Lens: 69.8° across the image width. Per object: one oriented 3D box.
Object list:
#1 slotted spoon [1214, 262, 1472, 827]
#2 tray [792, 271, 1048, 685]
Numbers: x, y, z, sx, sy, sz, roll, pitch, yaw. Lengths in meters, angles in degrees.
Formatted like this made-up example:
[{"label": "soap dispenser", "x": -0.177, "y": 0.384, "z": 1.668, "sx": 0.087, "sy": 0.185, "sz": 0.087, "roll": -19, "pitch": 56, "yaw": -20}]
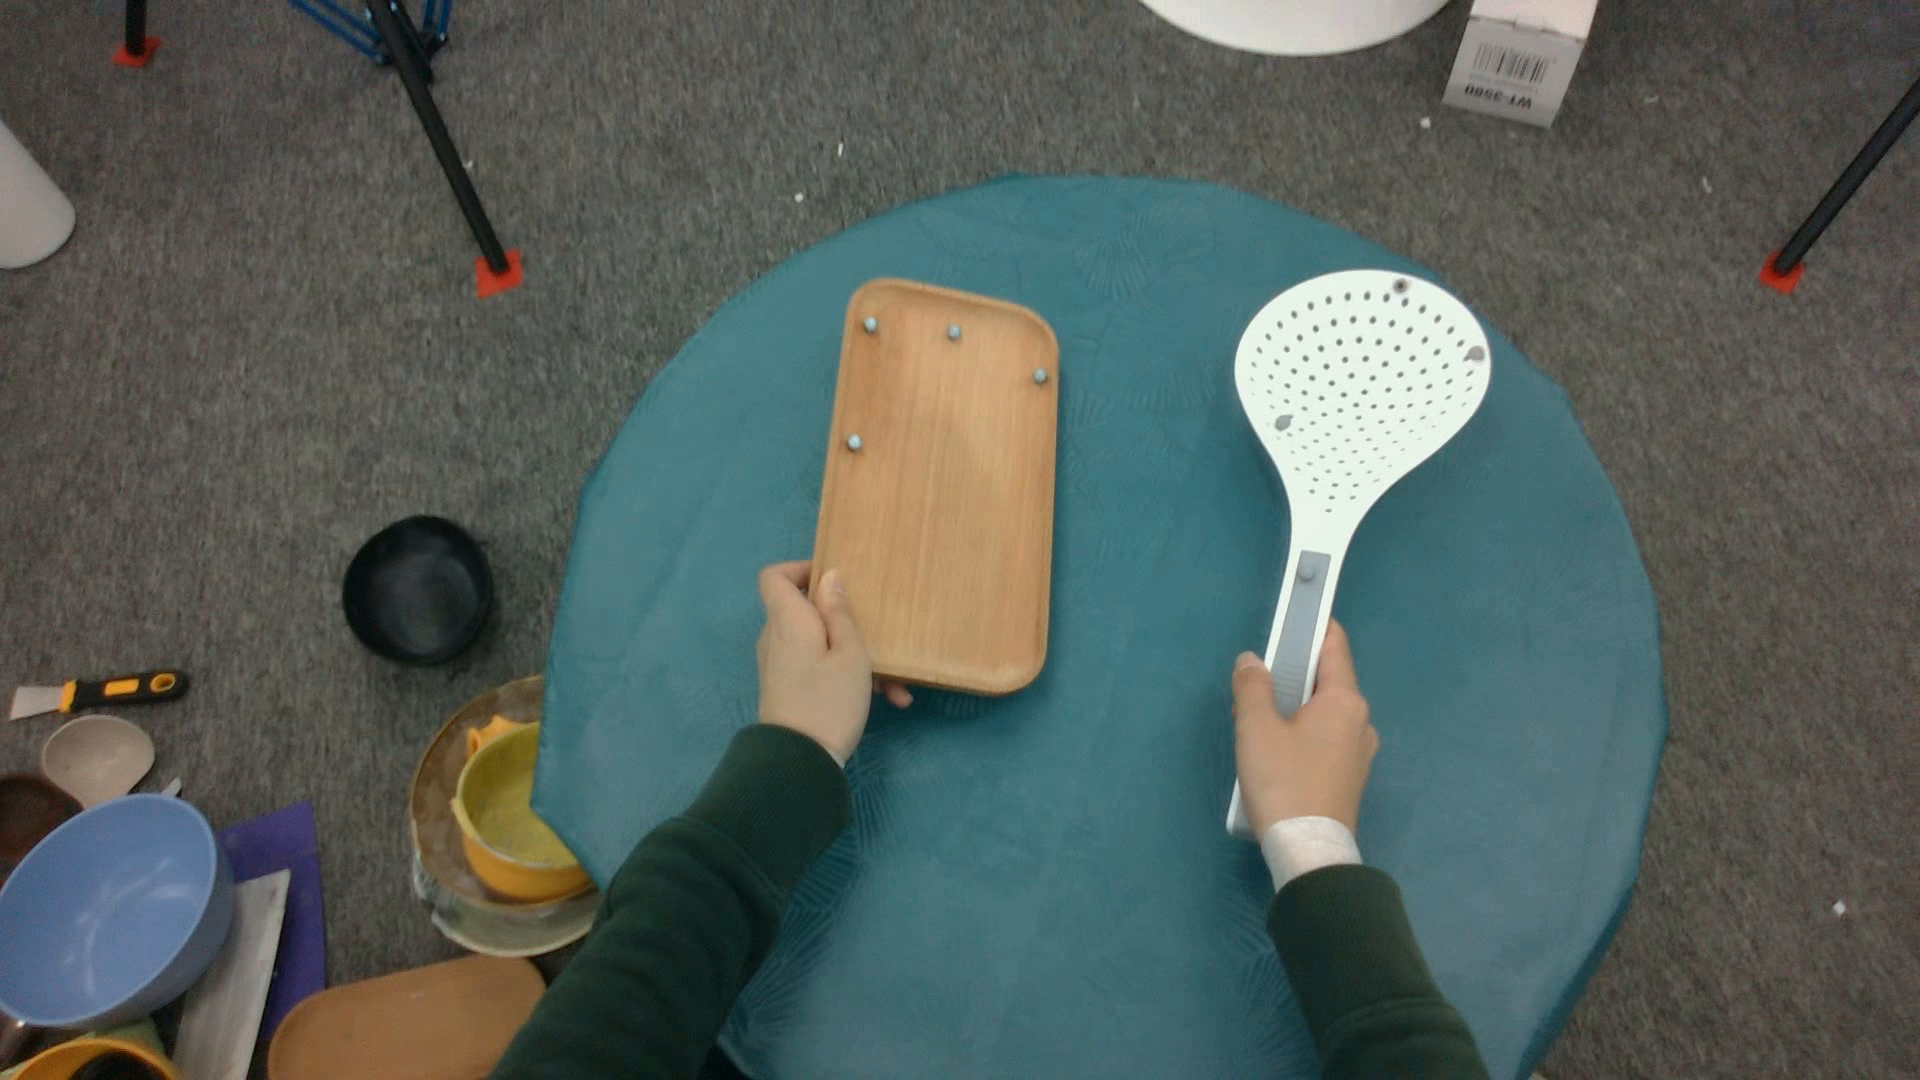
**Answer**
[{"label": "slotted spoon", "x": 0.187, "y": -0.012, "z": 0.734, "sx": 0.136, "sy": 0.045, "sz": 0.351, "roll": 9, "pitch": 56, "yaw": 20}, {"label": "tray", "x": -0.017, "y": -0.040, "z": 0.755, "sx": 0.130, "sy": 0.023, "sz": 0.252, "roll": 10, "pitch": 60, "yaw": -8}]
